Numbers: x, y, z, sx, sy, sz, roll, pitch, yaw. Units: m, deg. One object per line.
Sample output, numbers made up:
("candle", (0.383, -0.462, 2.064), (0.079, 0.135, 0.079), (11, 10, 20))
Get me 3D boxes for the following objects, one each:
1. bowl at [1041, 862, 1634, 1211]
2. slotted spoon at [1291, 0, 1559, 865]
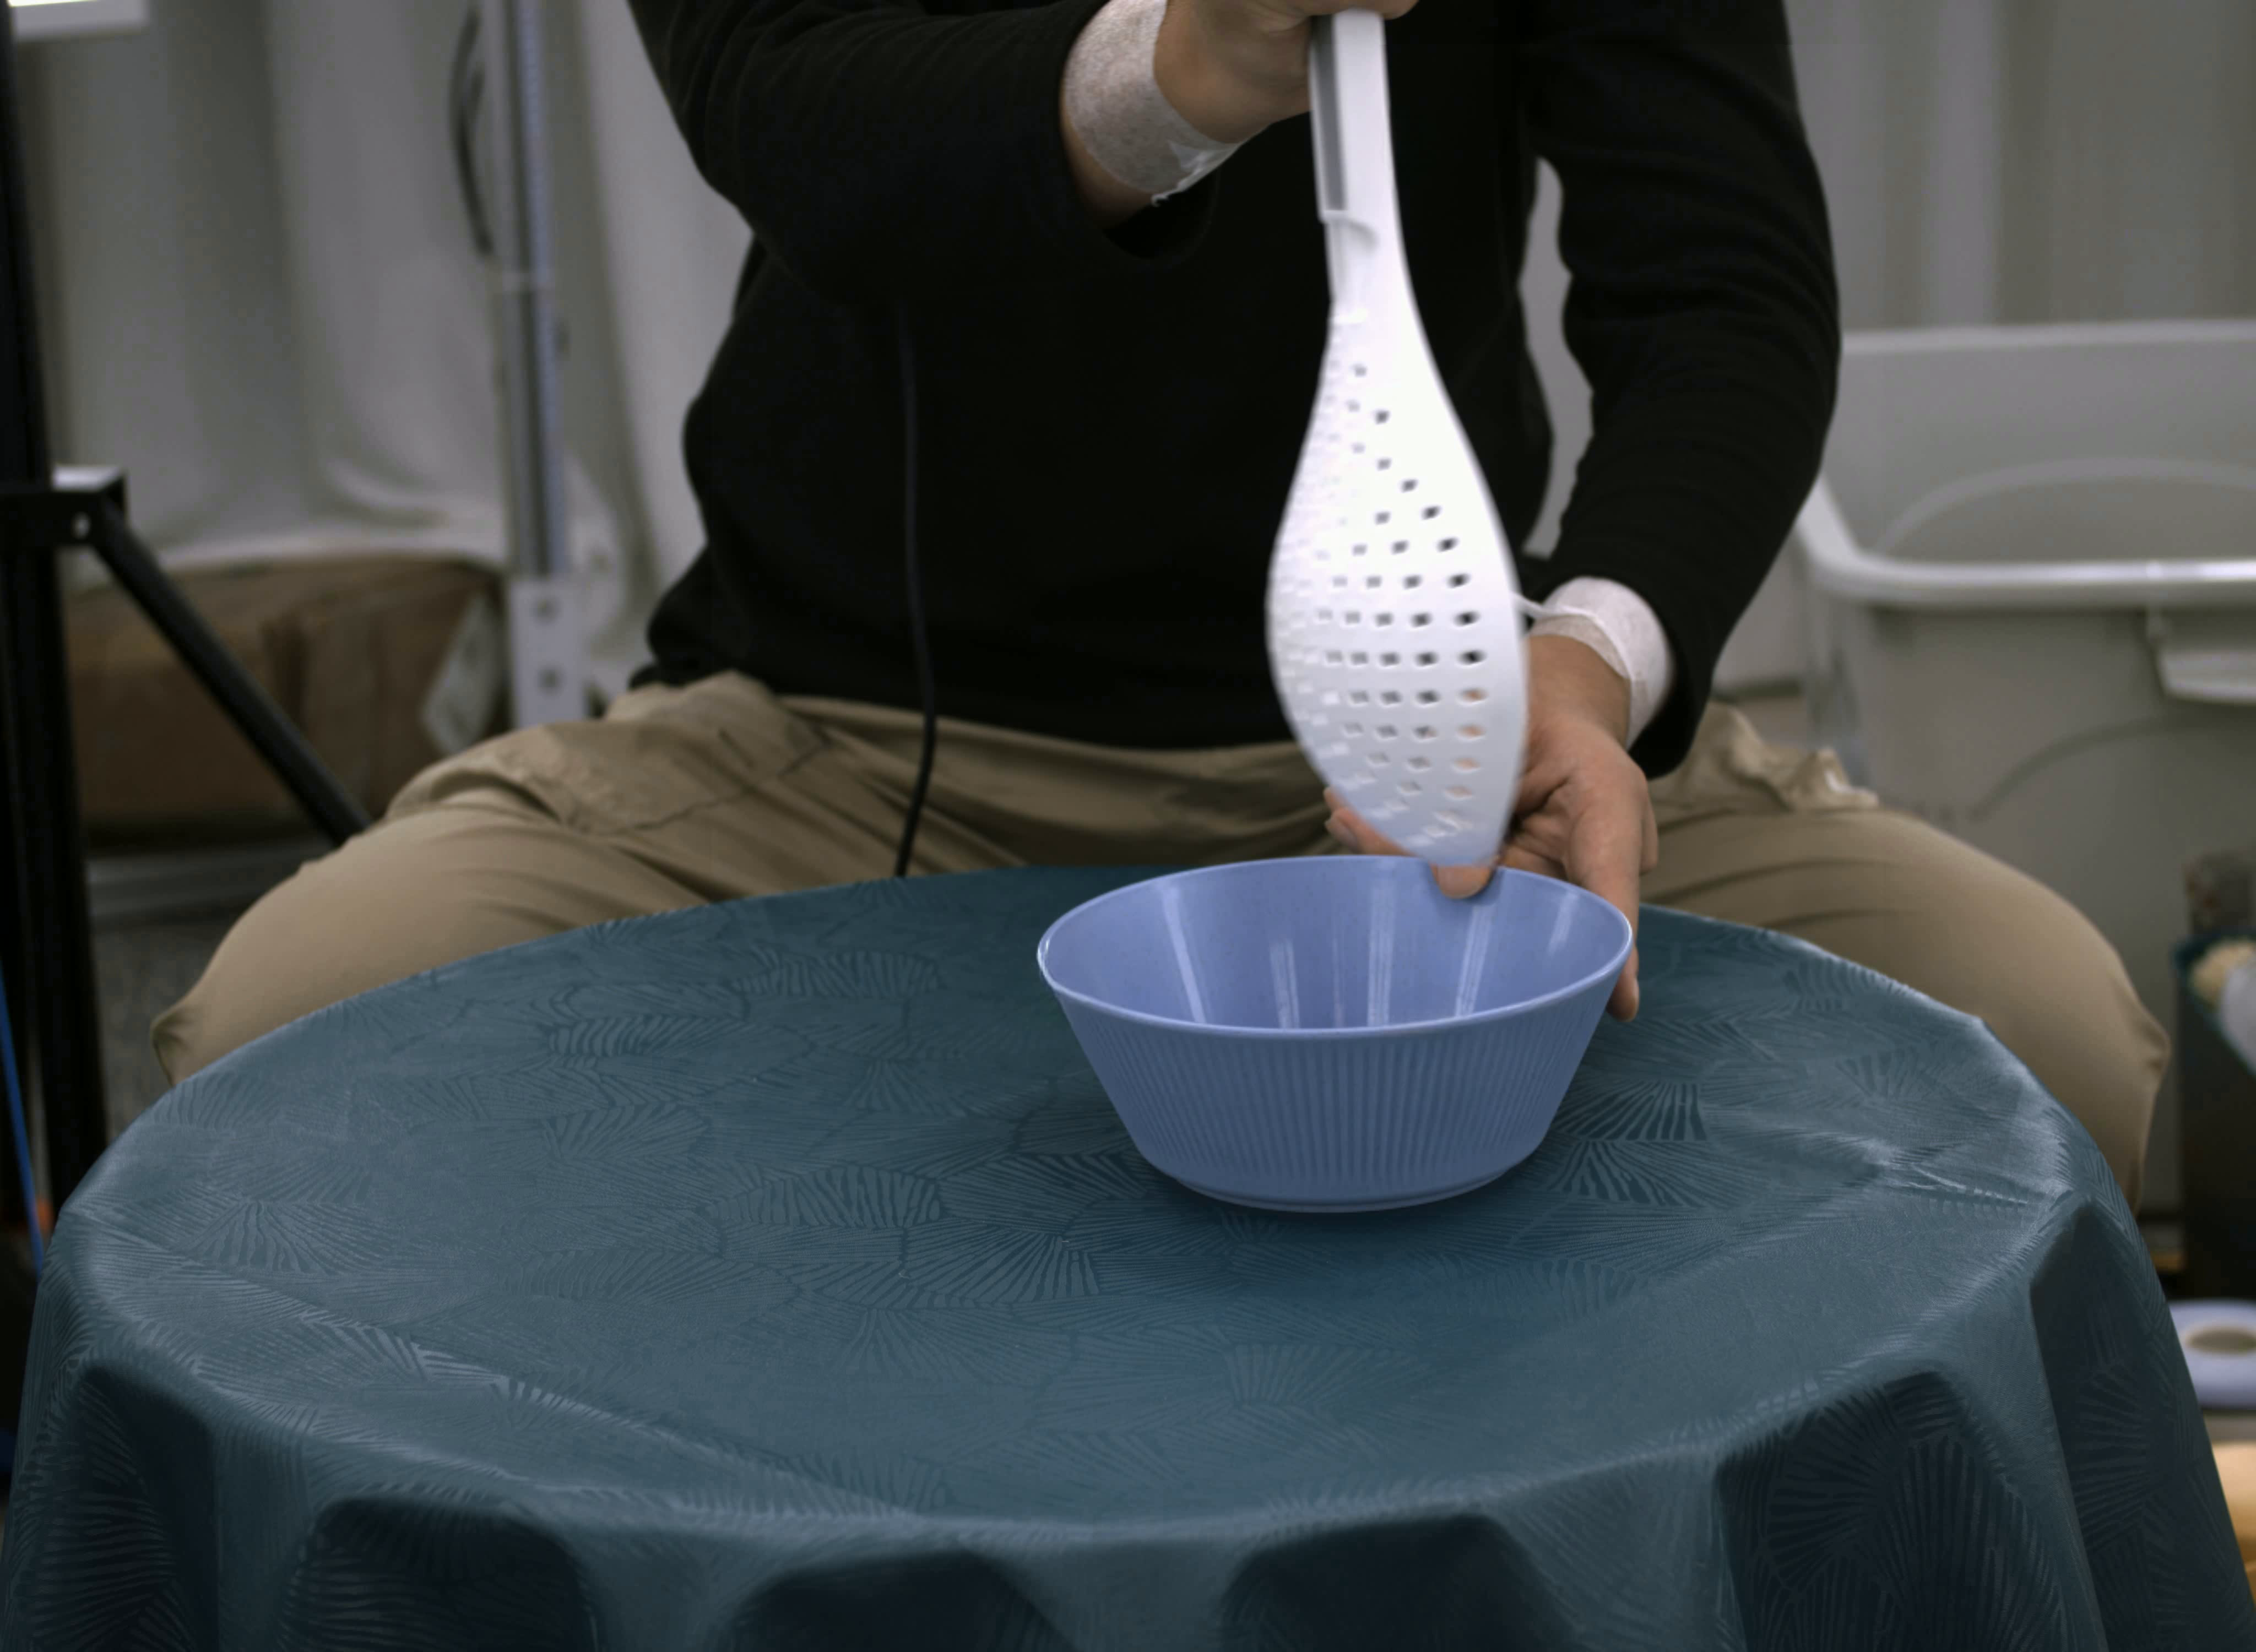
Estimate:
("bowl", (0.062, 0.065, 1.573), (0.175, 0.070, 0.177), (-3, 14, -1))
("slotted spoon", (0.073, -0.161, 1.520), (0.045, 0.351, 0.138), (-5, 7, -23))
